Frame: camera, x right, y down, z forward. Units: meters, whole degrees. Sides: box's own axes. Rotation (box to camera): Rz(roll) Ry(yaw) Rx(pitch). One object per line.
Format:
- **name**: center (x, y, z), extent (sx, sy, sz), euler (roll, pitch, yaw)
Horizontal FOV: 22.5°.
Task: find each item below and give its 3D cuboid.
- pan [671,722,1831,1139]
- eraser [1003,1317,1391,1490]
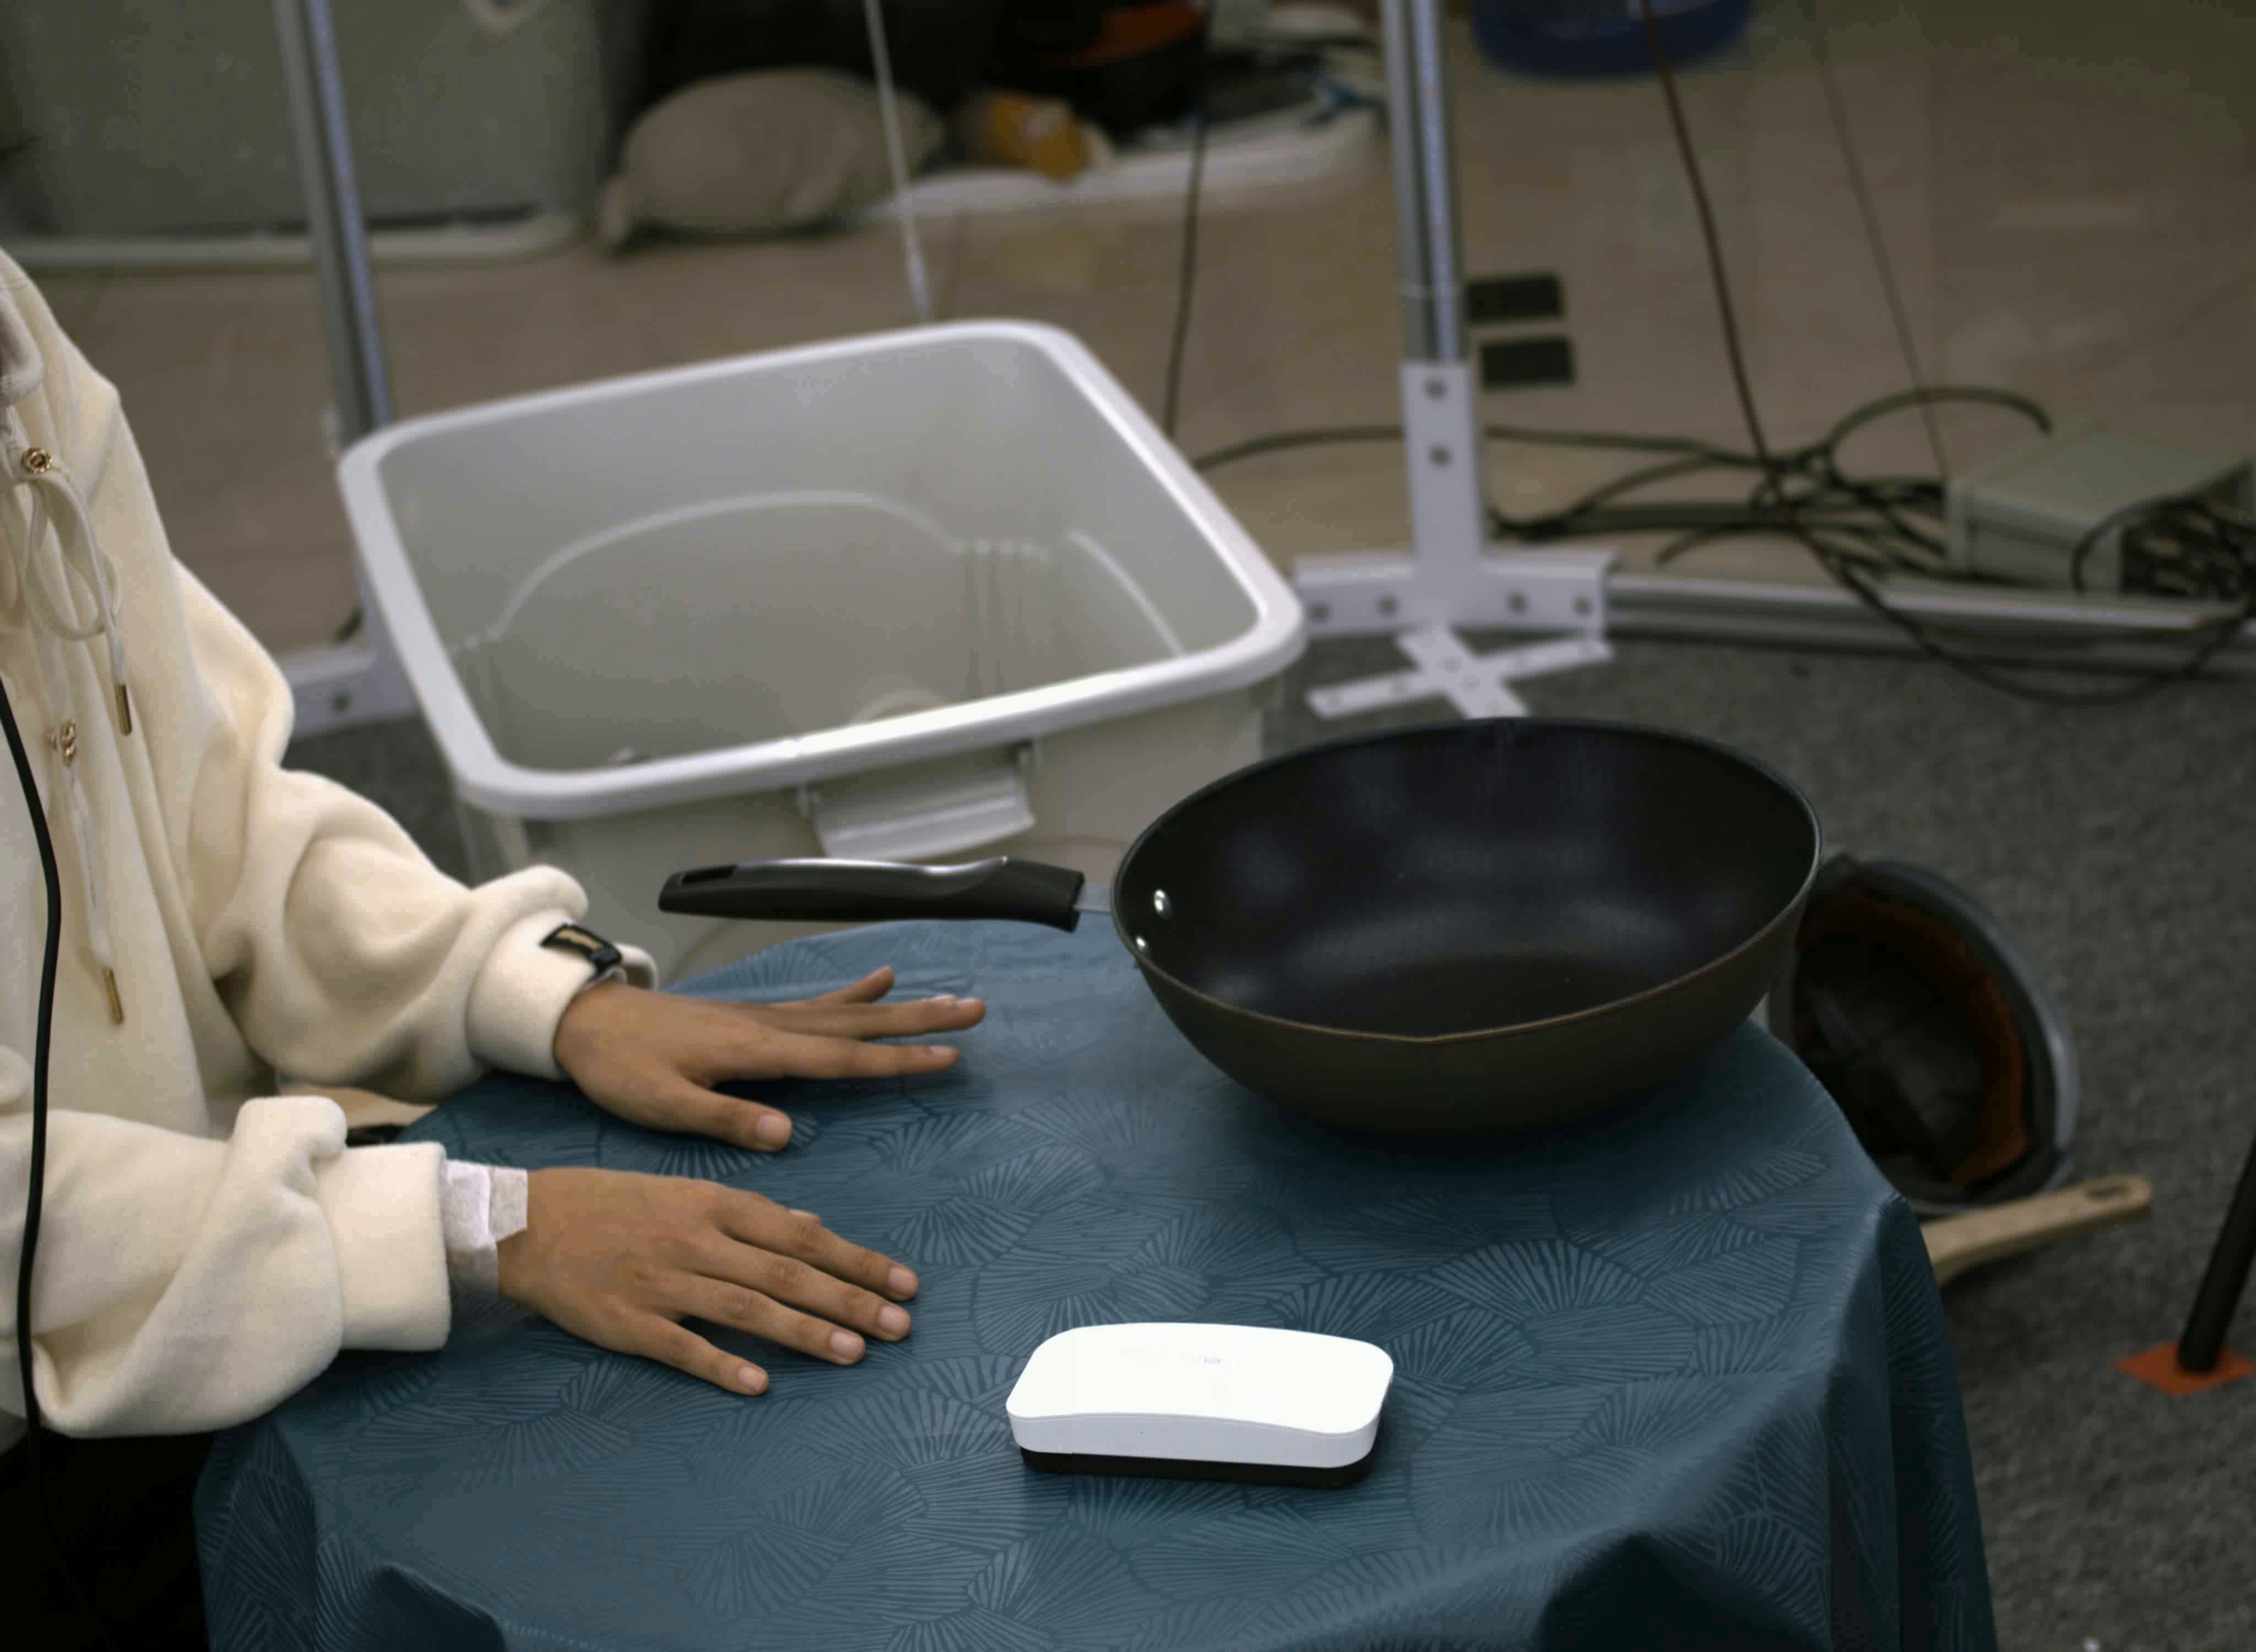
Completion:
- **pan**: center (0.047, 0.052, 2.225), extent (0.462, 0.088, 0.284), euler (-2, 25, 13)
- **eraser**: center (0.025, 0.201, 1.973), extent (0.131, 0.035, 0.062), euler (2, 24, 16)
